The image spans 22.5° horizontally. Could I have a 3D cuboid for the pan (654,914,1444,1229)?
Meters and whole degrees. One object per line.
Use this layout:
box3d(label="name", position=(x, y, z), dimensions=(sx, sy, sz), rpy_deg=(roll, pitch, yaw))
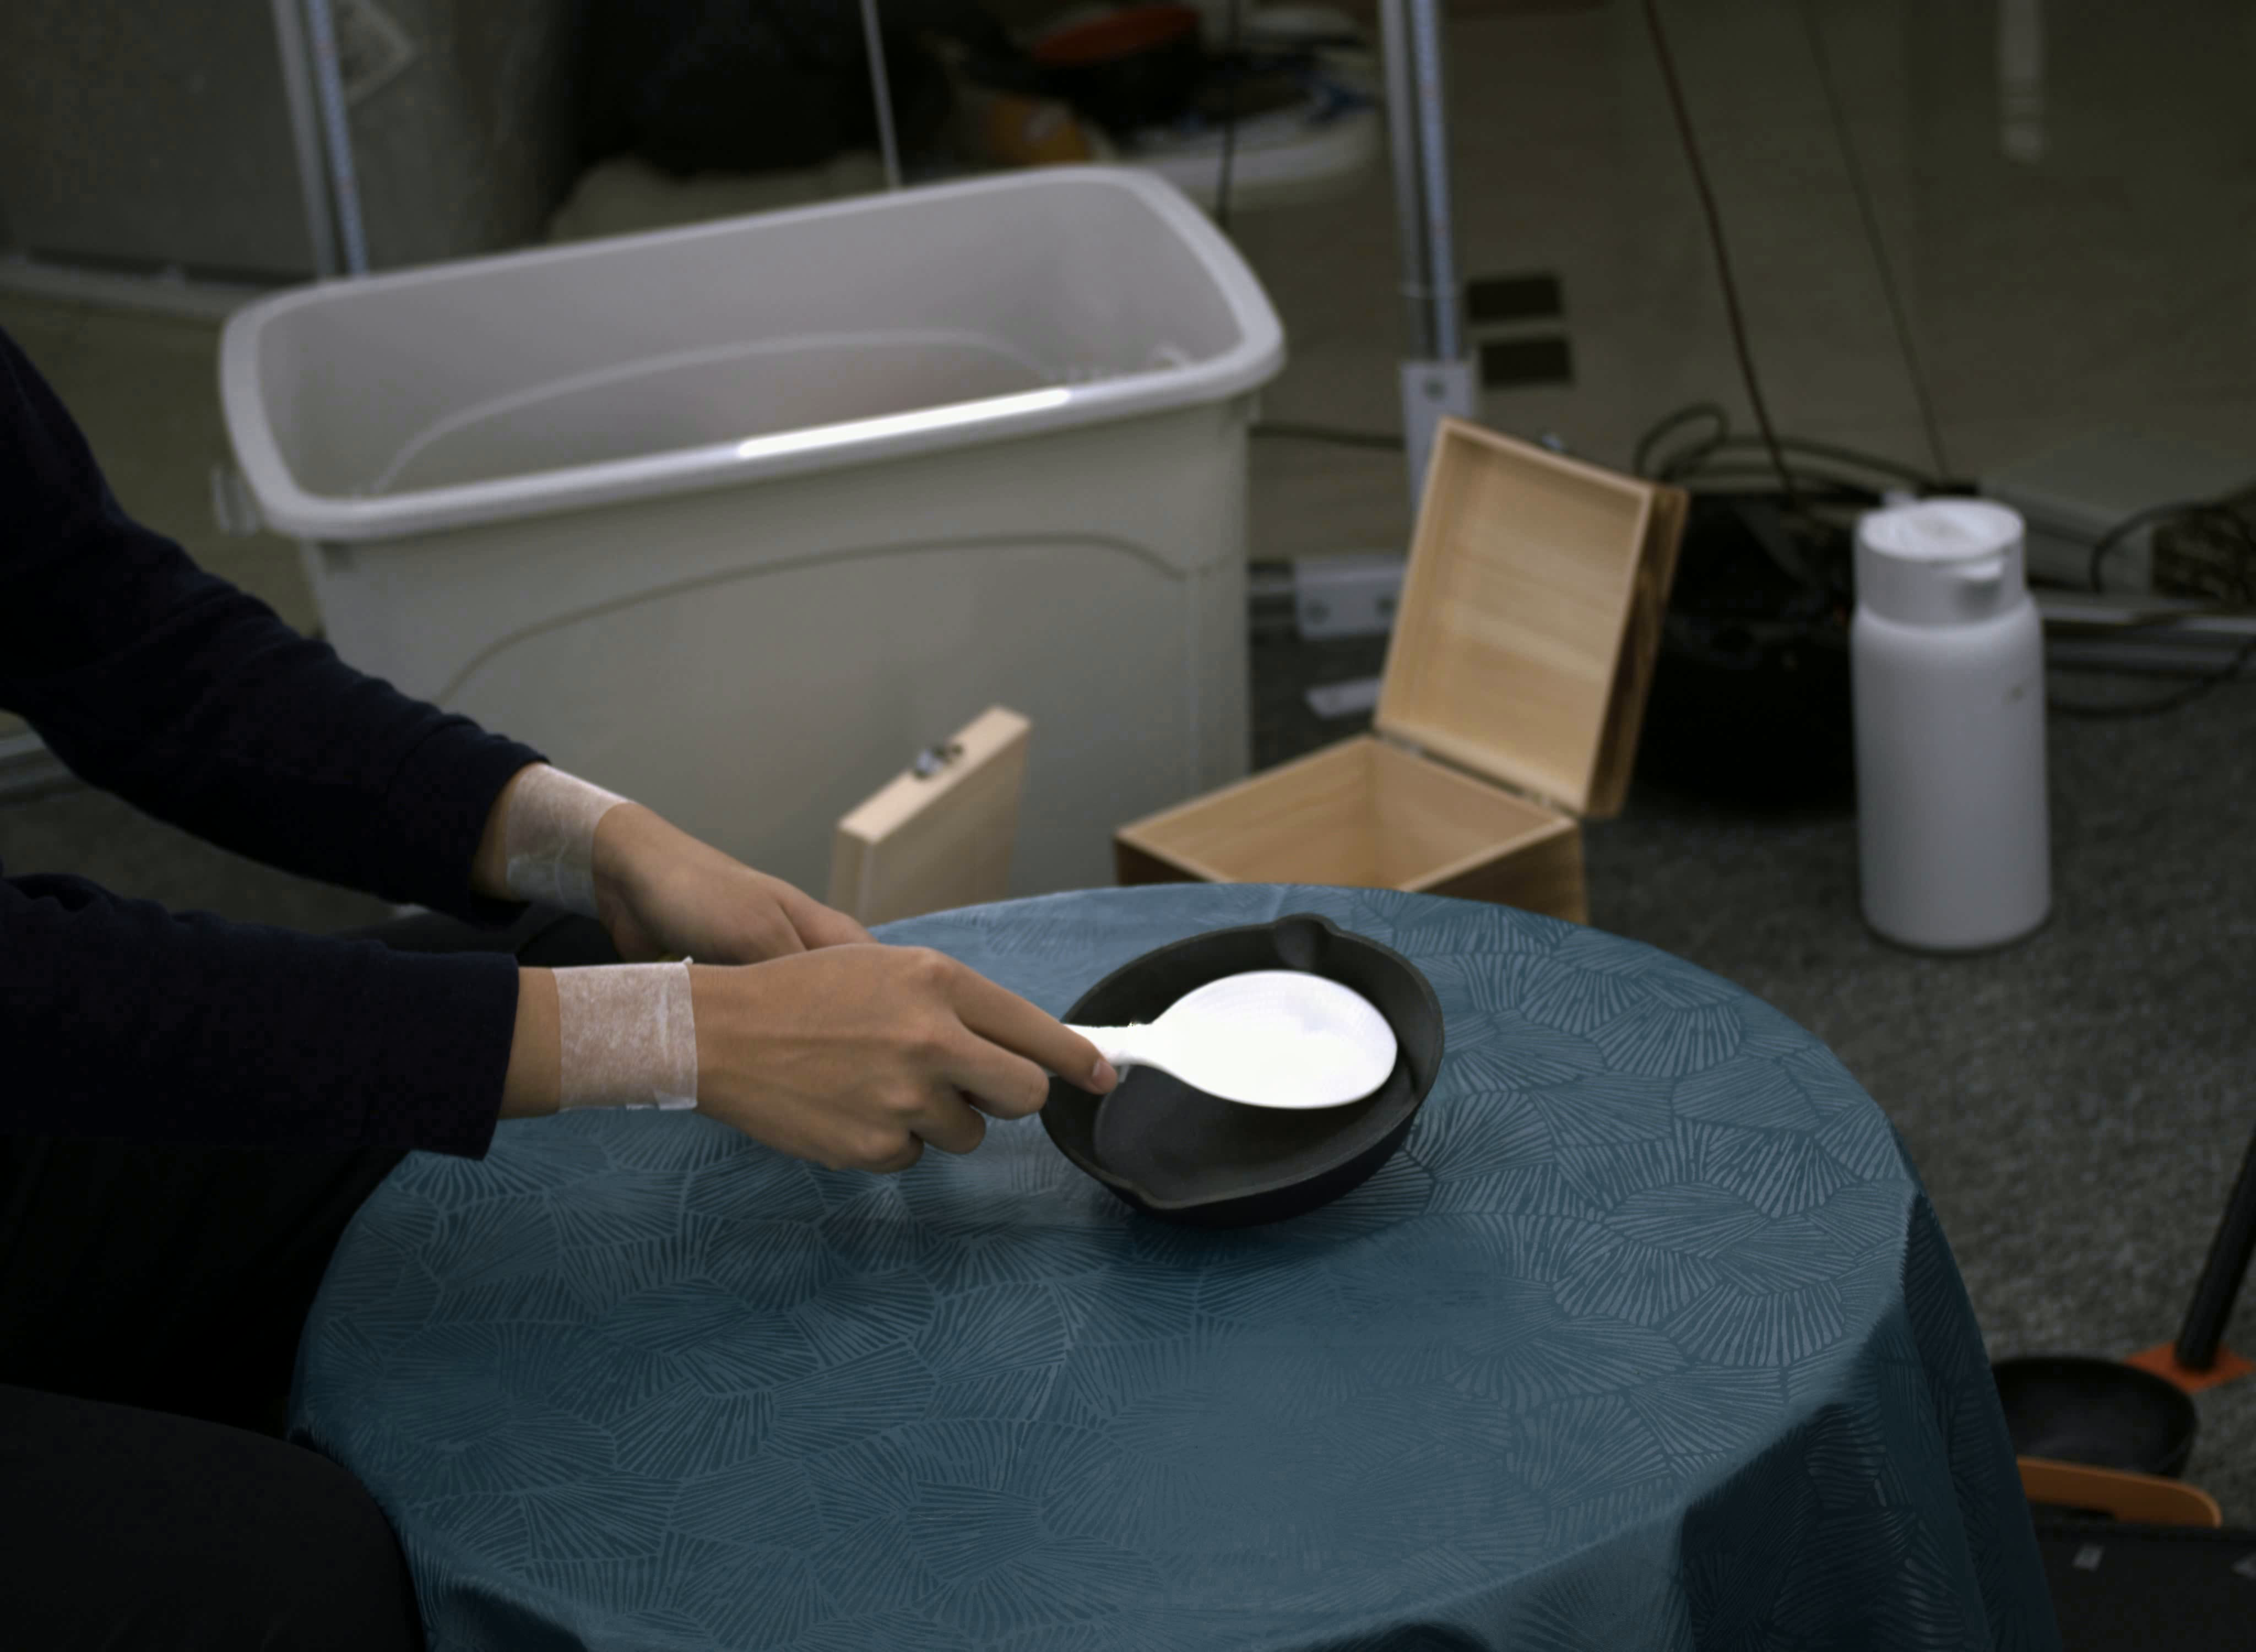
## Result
box3d(label="pan", position=(-0.034, 0.084, 2.178), dimensions=(0.323, 0.050, 0.166), rpy_deg=(7, 42, 23))

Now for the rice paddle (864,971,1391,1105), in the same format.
box3d(label="rice paddle", position=(0.003, 0.083, 2.140), dimensions=(0.205, 0.030, 0.067), rpy_deg=(-3, 47, -17))
